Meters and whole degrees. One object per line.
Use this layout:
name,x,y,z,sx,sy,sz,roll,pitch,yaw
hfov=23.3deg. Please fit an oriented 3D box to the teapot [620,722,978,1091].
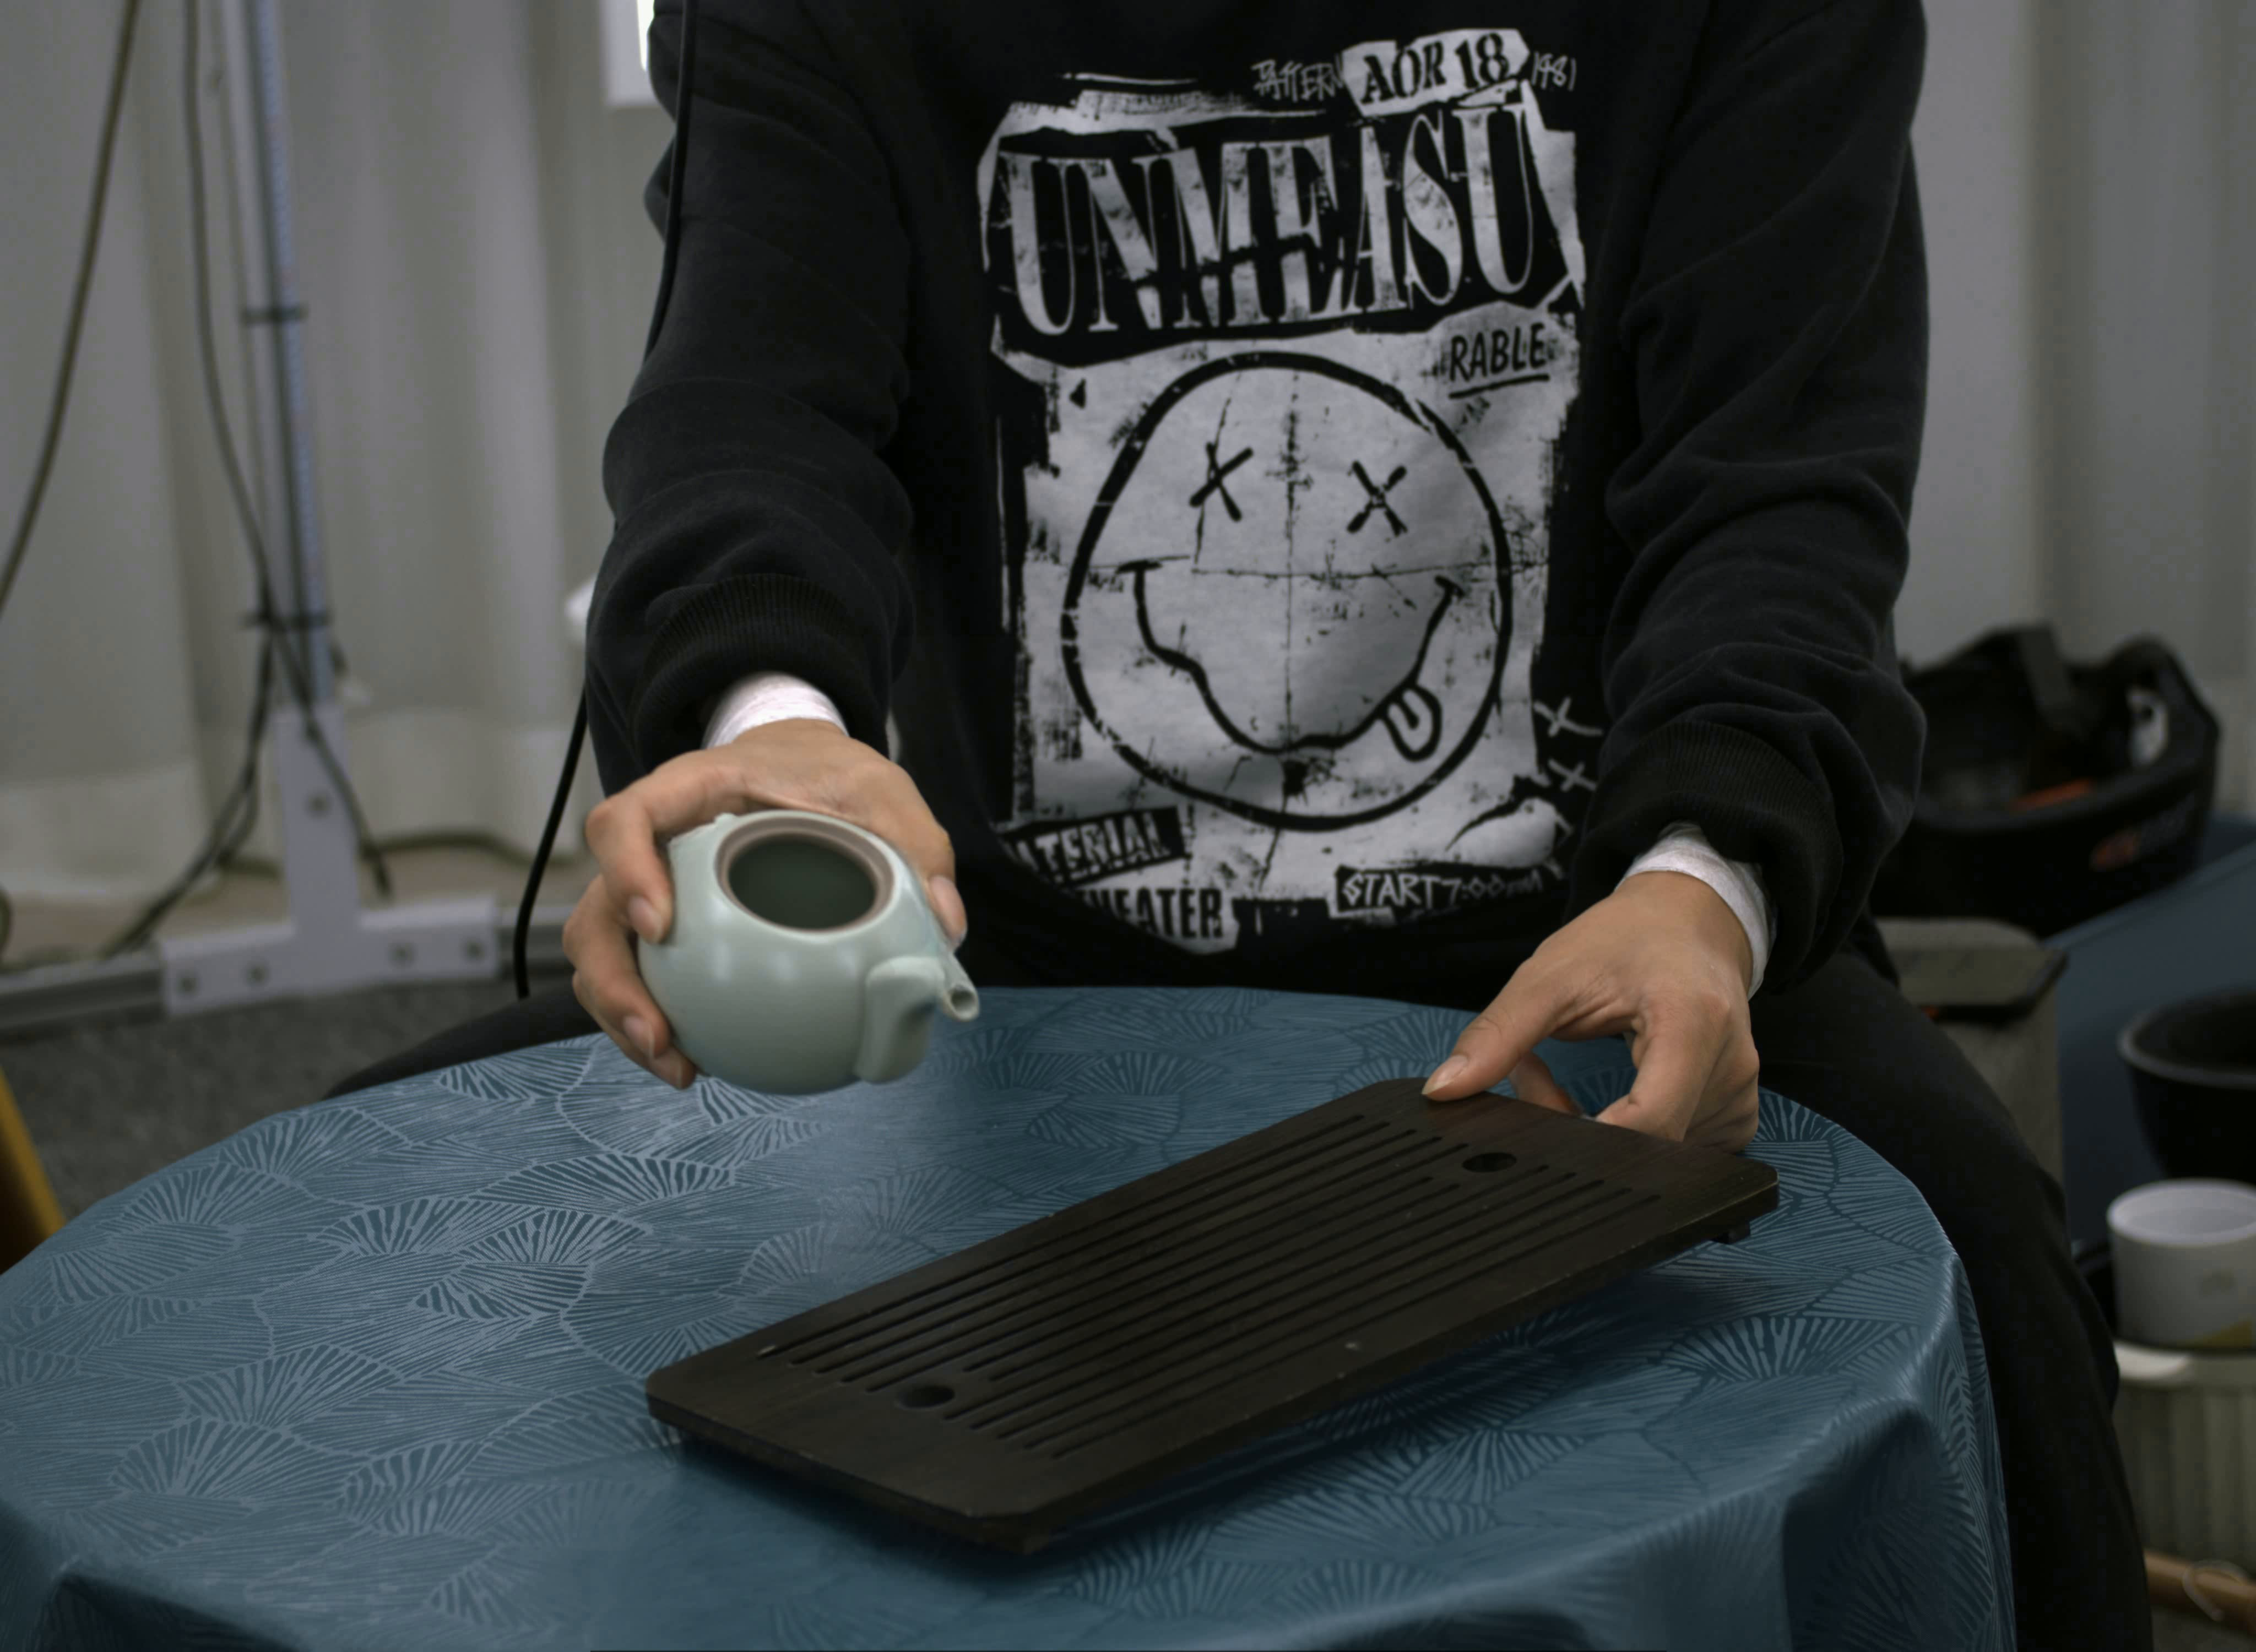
teapot,-0.100,0.035,1.596,0.088,0.074,0.145,-23,51,-39

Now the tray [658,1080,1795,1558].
tray,0.032,0.136,1.554,0.305,0.018,0.171,-19,20,-37
